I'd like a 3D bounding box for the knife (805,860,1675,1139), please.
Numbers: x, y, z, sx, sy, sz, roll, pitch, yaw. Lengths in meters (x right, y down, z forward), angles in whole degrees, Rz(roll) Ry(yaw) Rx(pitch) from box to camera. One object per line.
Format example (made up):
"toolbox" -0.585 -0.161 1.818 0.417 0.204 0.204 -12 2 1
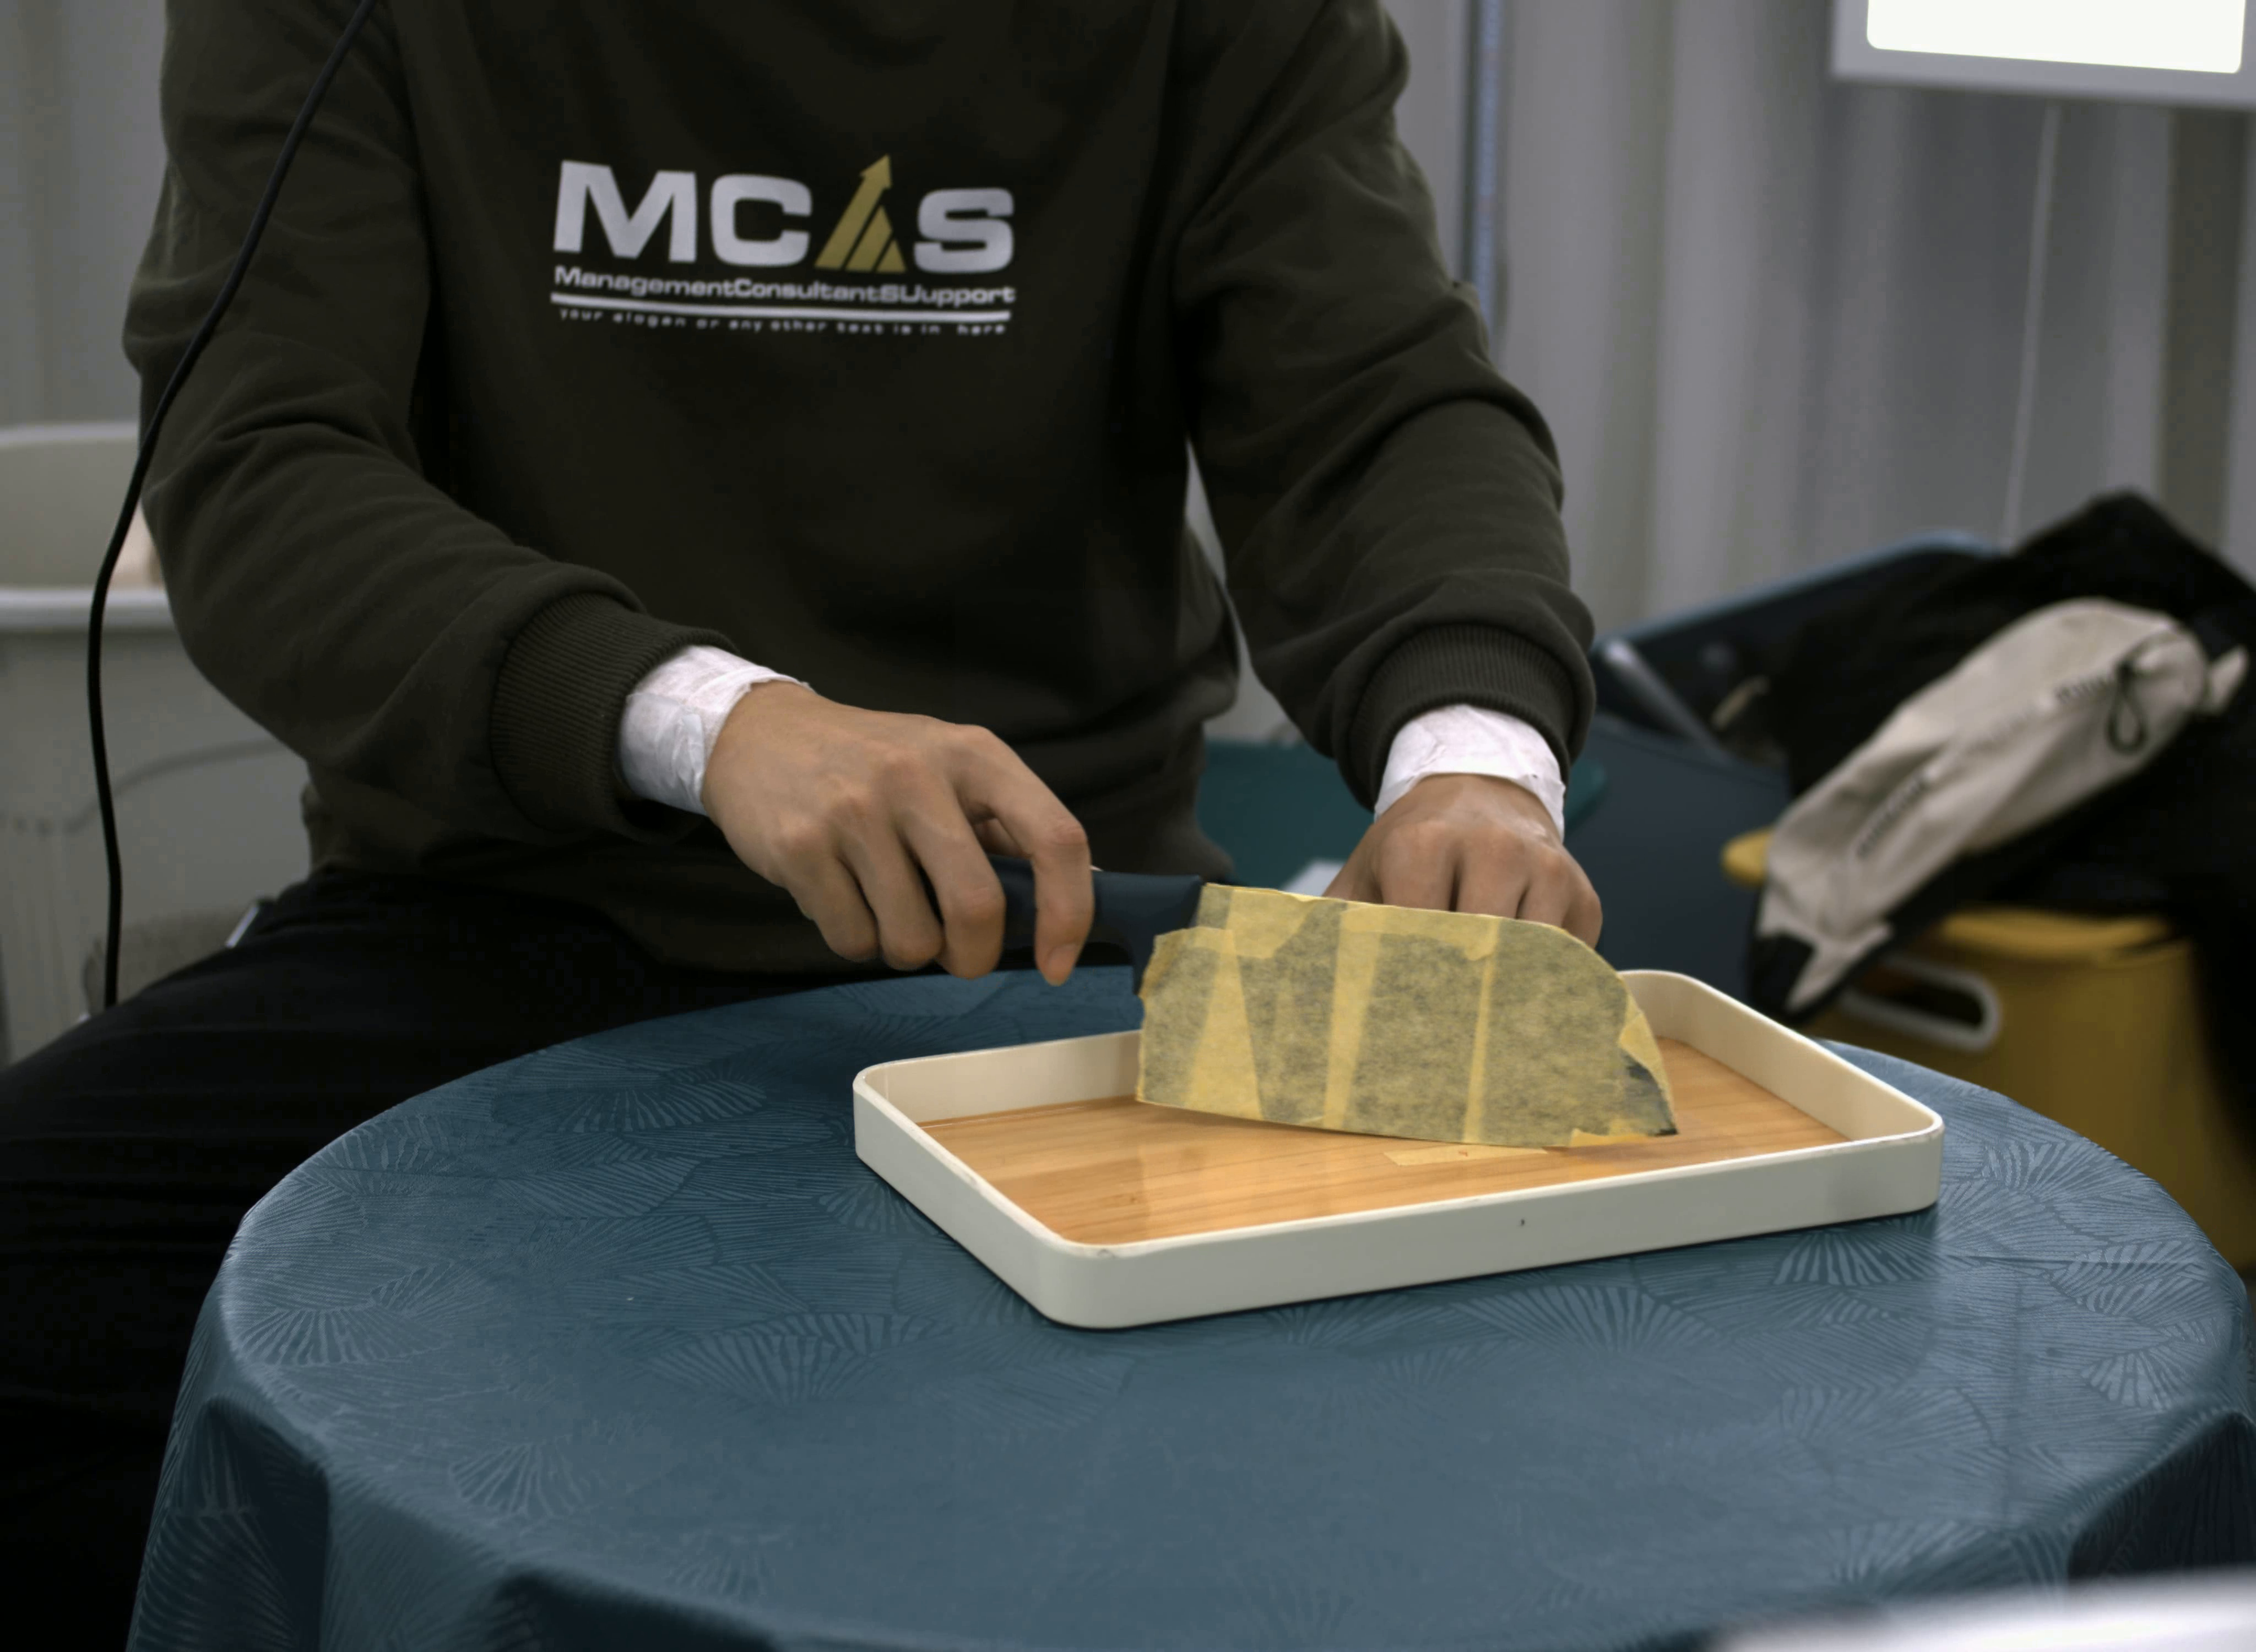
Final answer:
"knife" 0.033 0.054 1.668 0.287 0.081 0.027 9 -2 13

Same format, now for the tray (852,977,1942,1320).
"tray" 0.081 0.097 1.637 0.301 0.027 0.189 -6 15 -23
